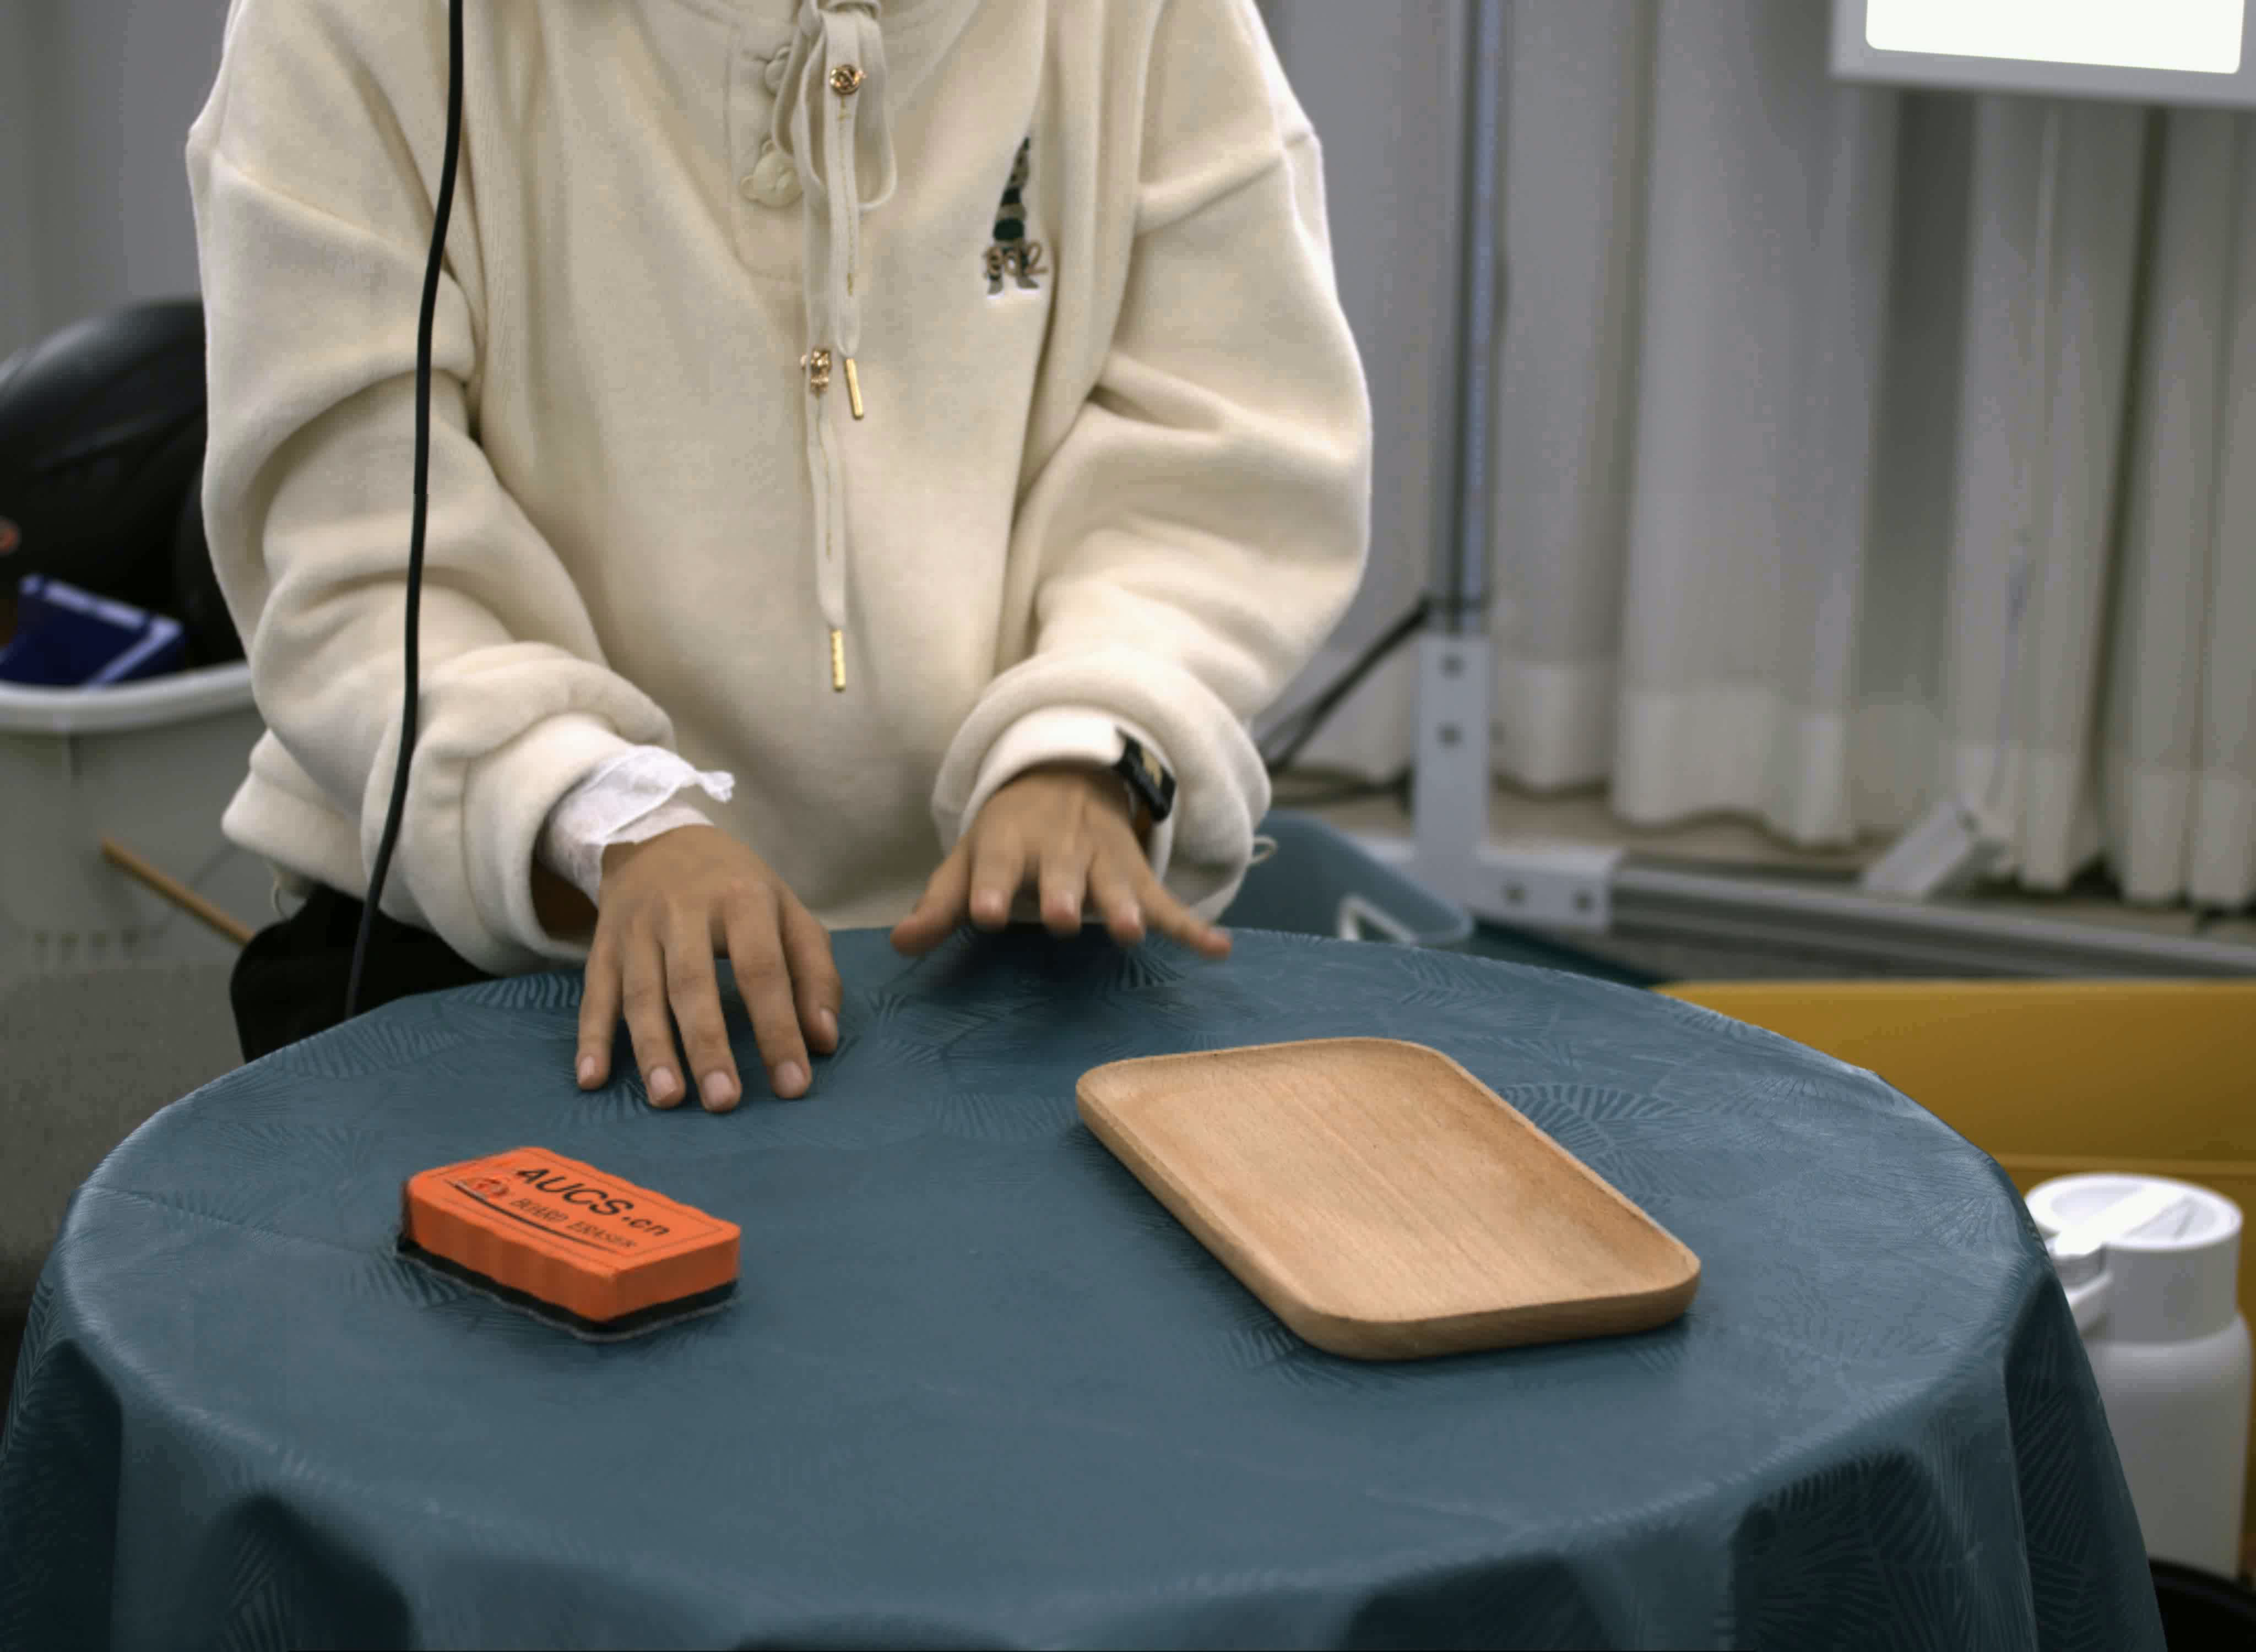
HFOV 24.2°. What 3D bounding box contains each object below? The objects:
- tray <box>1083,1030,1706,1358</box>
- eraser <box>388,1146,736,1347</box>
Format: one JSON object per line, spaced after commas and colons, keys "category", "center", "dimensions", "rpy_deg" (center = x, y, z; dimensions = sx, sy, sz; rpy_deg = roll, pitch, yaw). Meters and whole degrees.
{"category": "tray", "center": [0.076, 0.109, 1.601], "dimensions": [0.131, 0.023, 0.248], "rpy_deg": [-2, 15, -17]}
{"category": "eraser", "center": [-0.166, 0.122, 1.538], "dimensions": [0.059, 0.023, 0.106], "rpy_deg": [-15, 22, -40]}
